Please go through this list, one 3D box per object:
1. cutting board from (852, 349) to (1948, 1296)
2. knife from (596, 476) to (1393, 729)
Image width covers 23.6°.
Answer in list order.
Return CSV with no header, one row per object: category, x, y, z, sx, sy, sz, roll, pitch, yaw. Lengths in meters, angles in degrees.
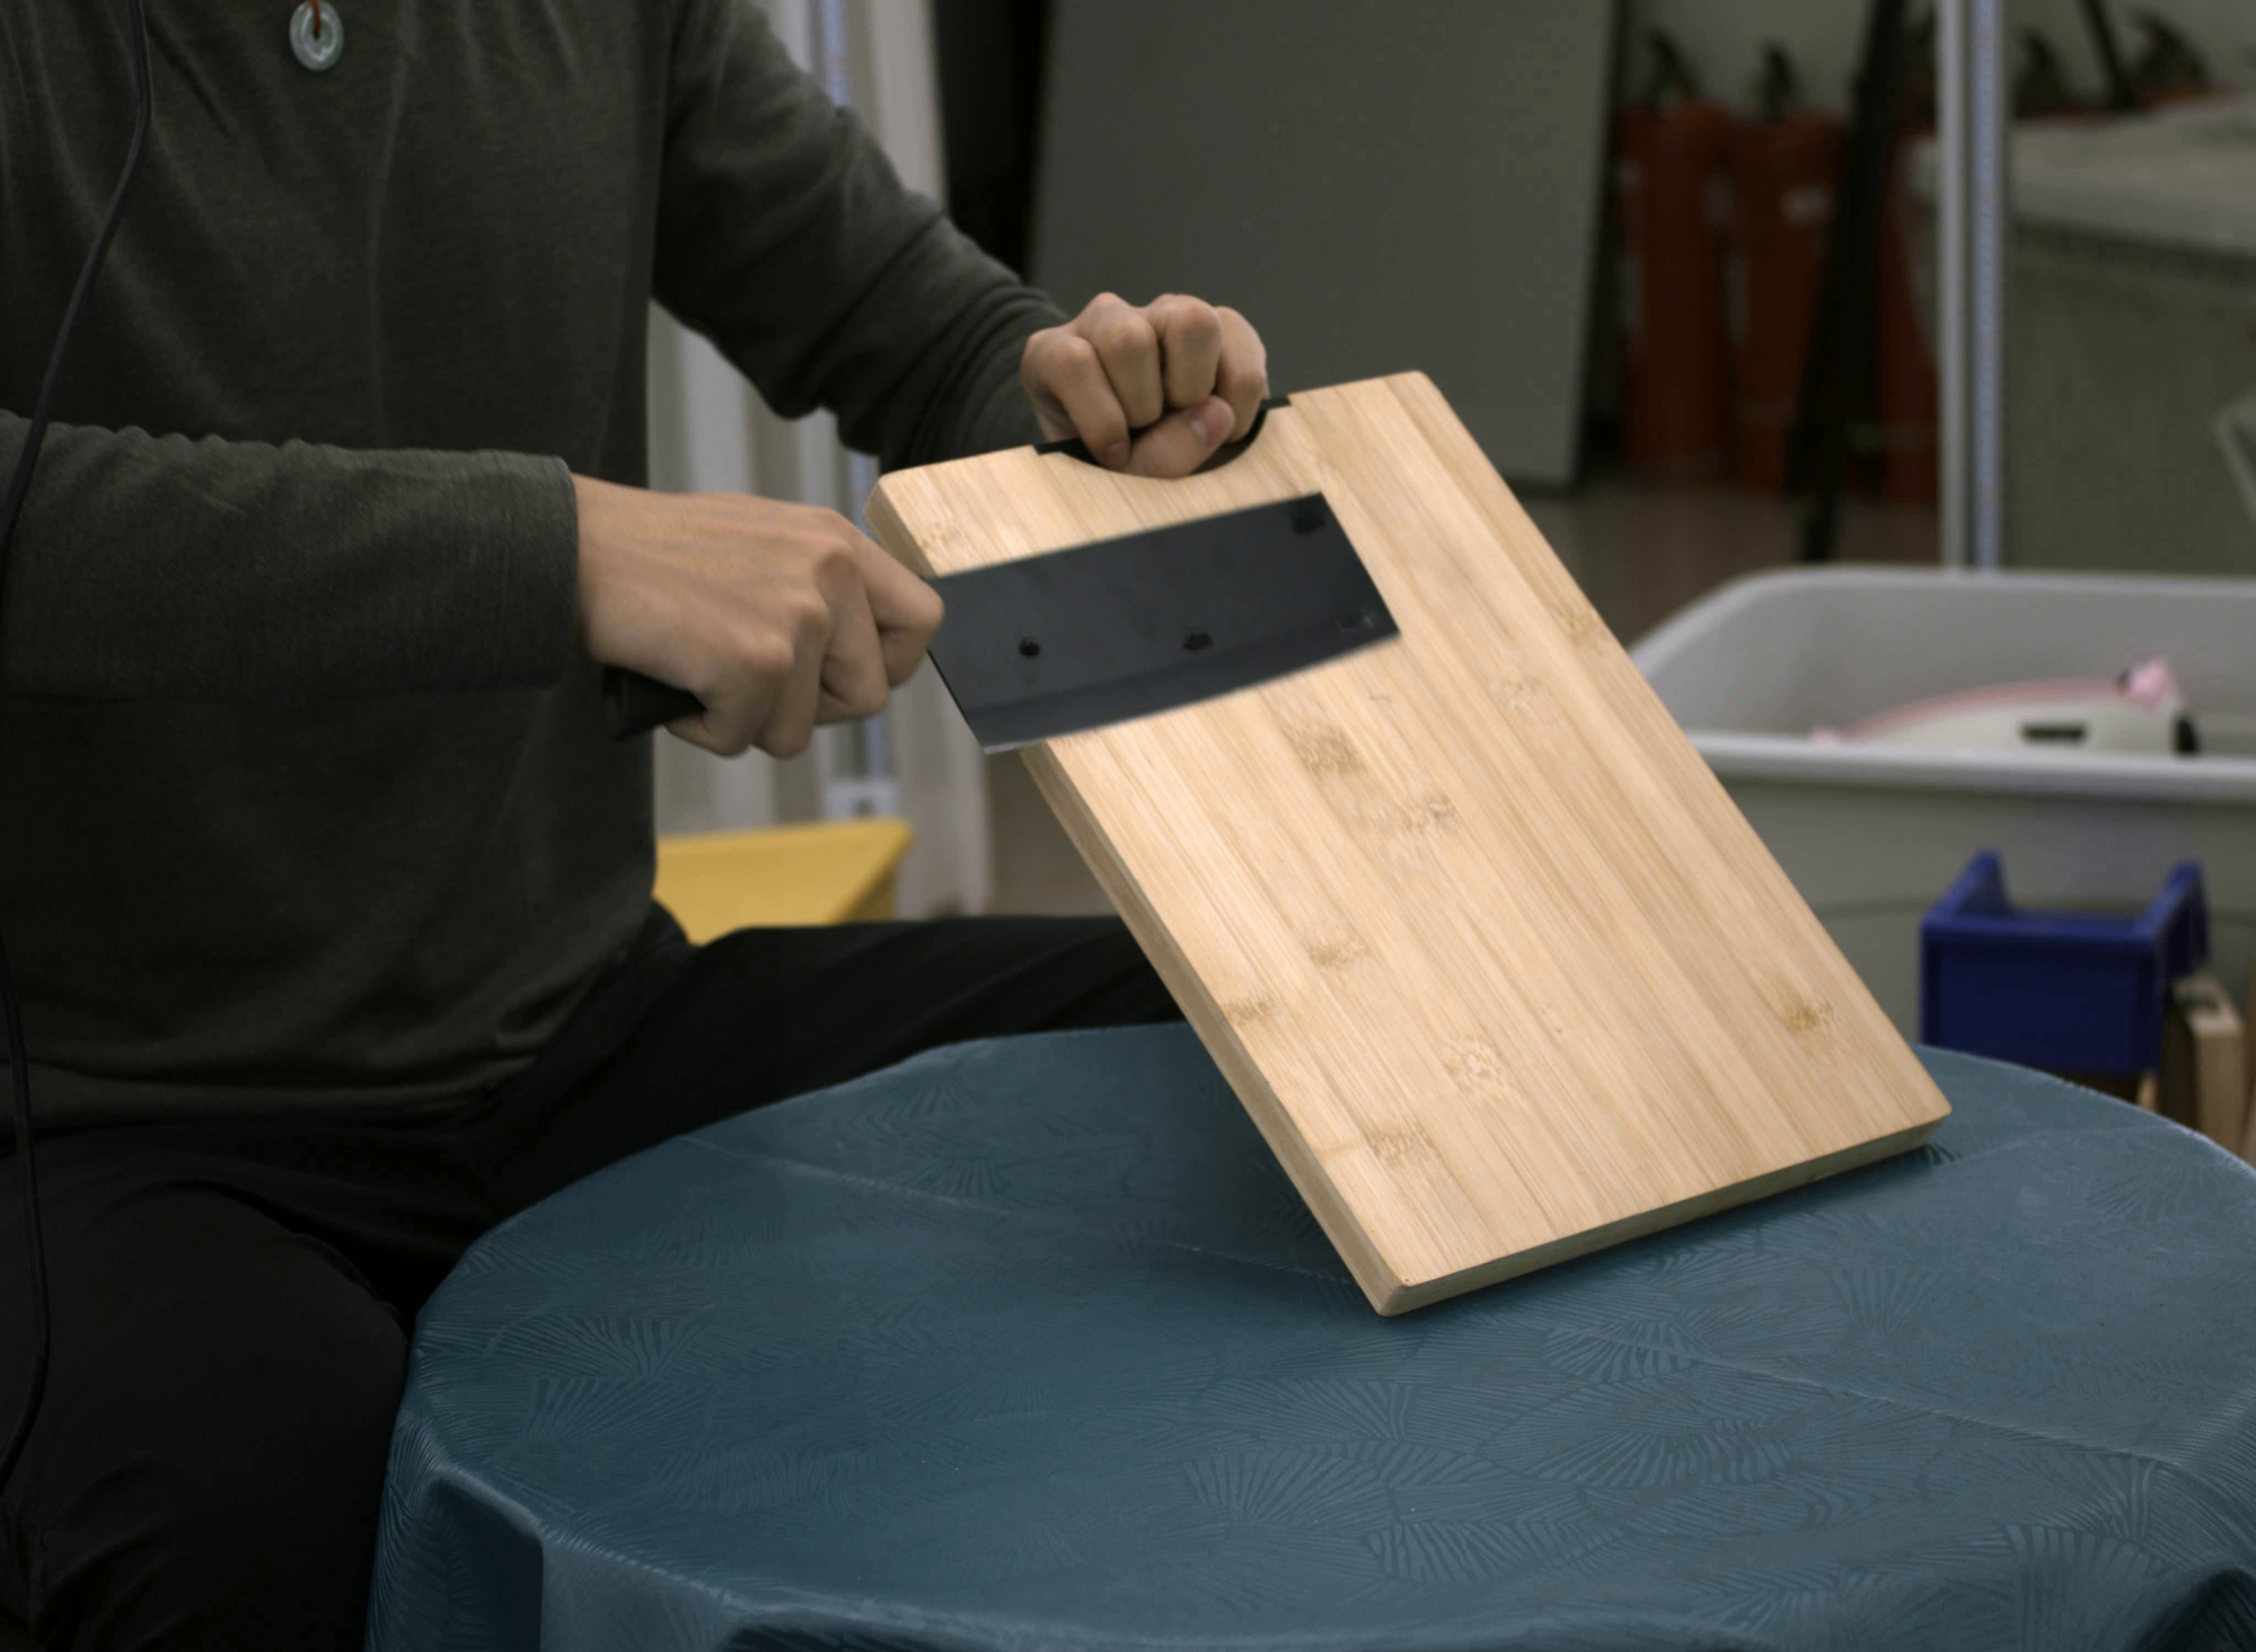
cutting board,0.088,-0.010,1.774,0.245,0.024,0.353,-14,57,-35
knife,-0.041,-0.064,1.741,0.295,0.082,0.021,-10,-28,-33
